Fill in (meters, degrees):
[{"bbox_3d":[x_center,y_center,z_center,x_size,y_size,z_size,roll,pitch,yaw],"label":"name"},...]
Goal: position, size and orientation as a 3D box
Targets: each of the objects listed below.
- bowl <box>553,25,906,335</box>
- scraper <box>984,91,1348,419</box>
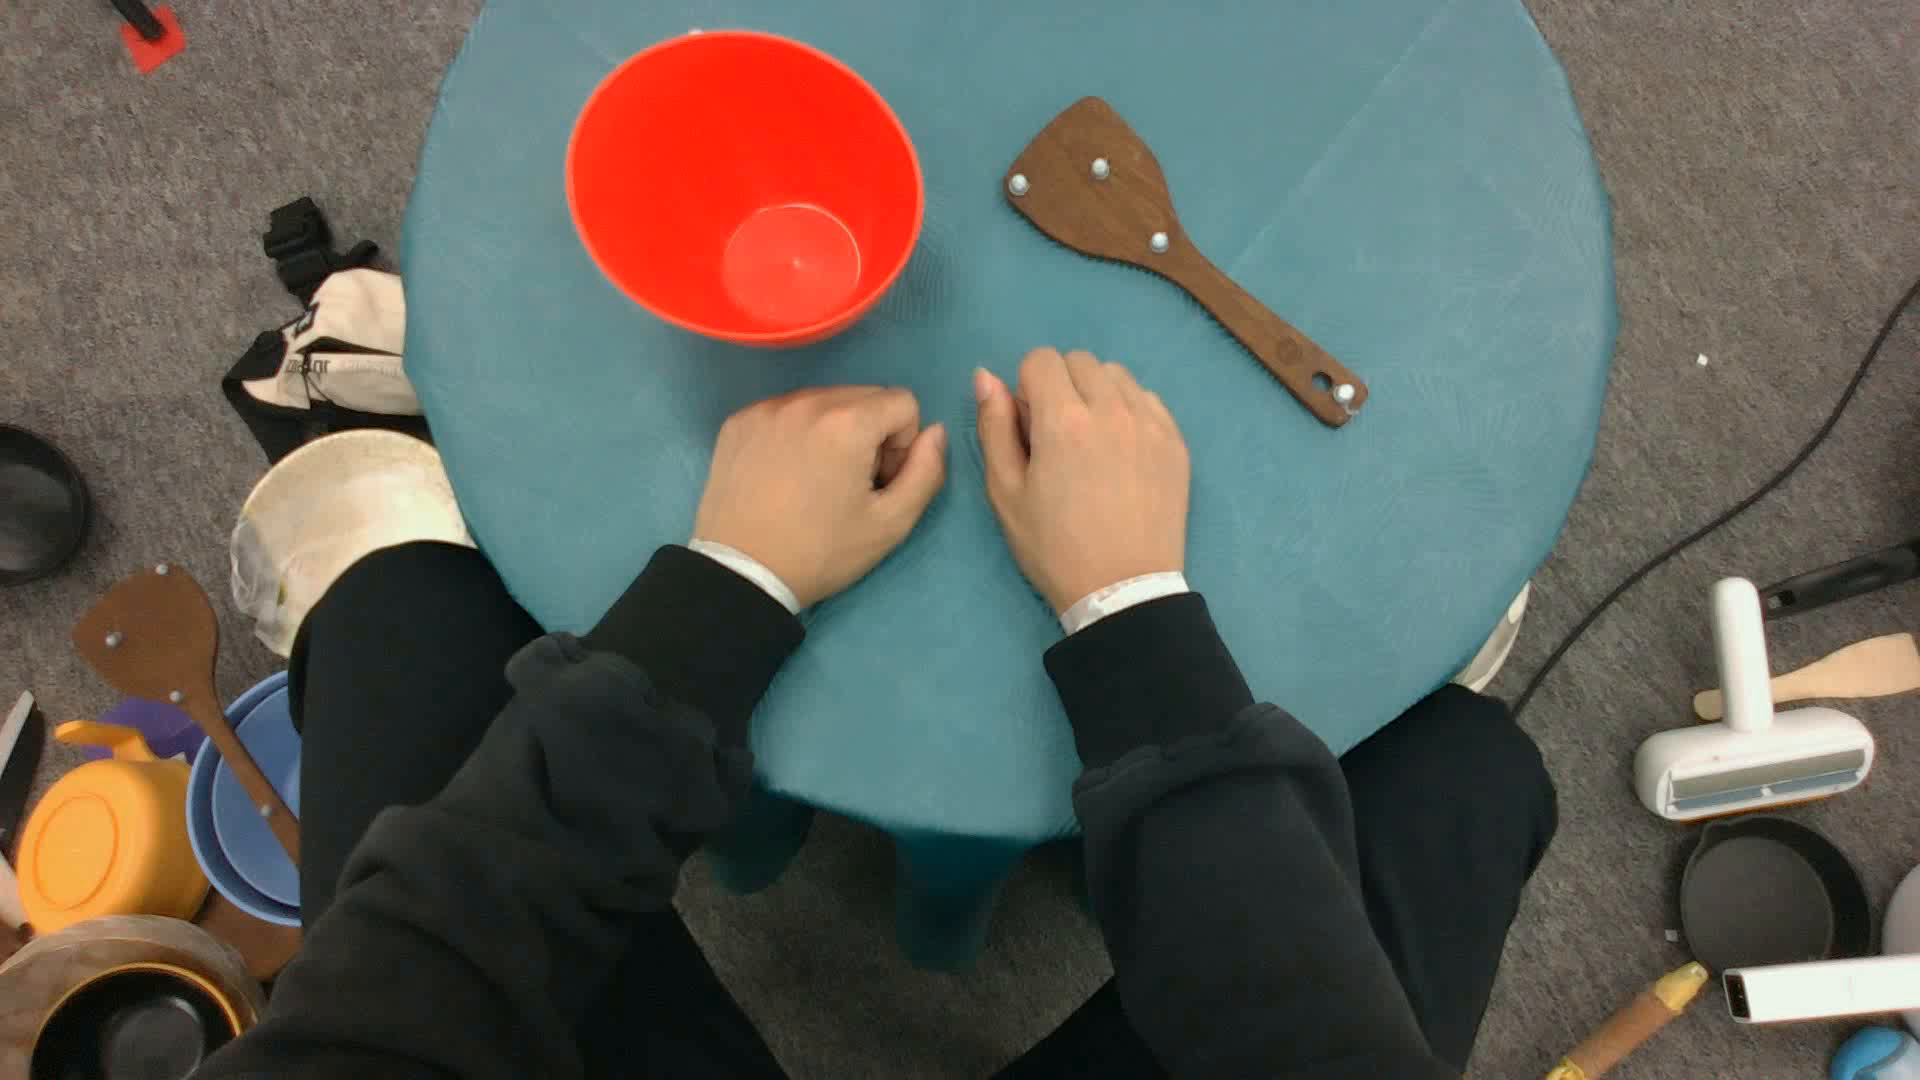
[{"bbox_3d":[-0.099,-0.149,0.630,0.148,0.104,0.148,1,75,-2],"label":"bowl"},{"bbox_3d":[0.107,-0.137,0.683,0.211,0.011,0.076,43,78,8],"label":"scraper"}]
